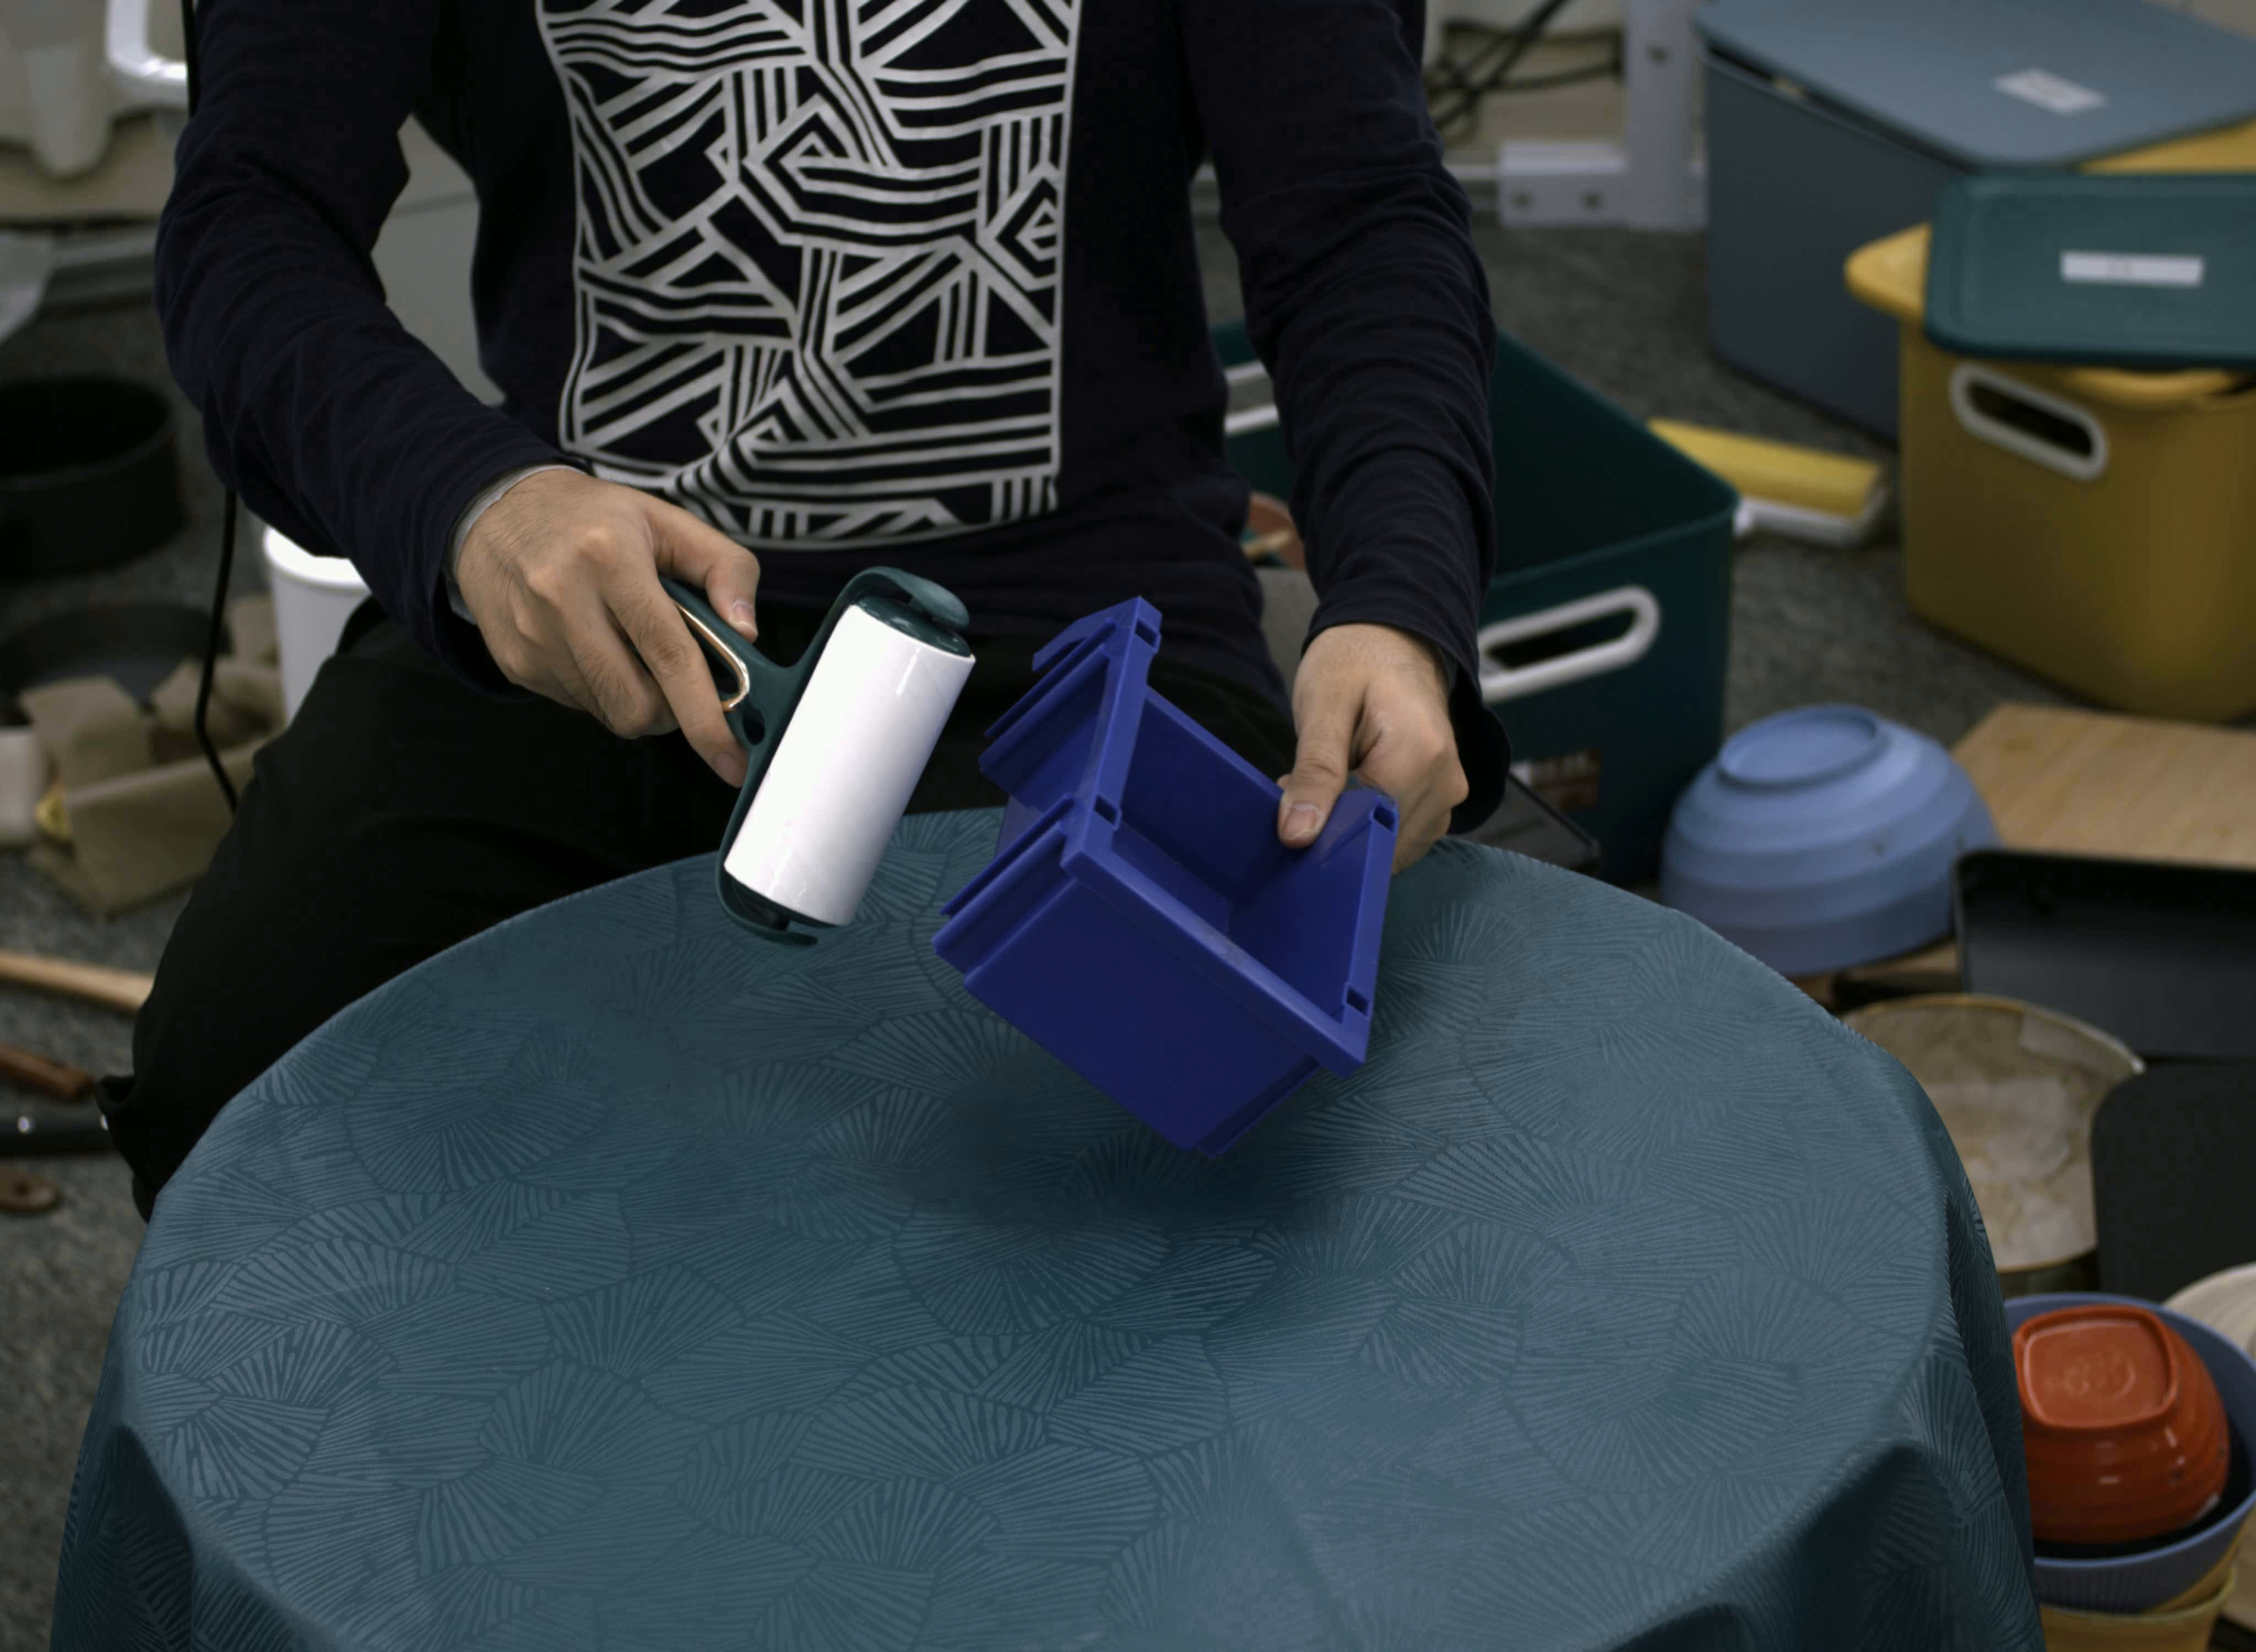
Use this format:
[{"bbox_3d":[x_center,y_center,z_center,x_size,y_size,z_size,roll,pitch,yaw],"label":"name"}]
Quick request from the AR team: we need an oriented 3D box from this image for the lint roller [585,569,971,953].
[{"bbox_3d":[-0.139,-0.048,1.908,0.180,0.134,0.048,30,7,37],"label":"lint roller"}]

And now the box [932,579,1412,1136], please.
[{"bbox_3d":[0.017,0.006,1.877,0.124,0.080,0.183,38,34,-14],"label":"box"}]
